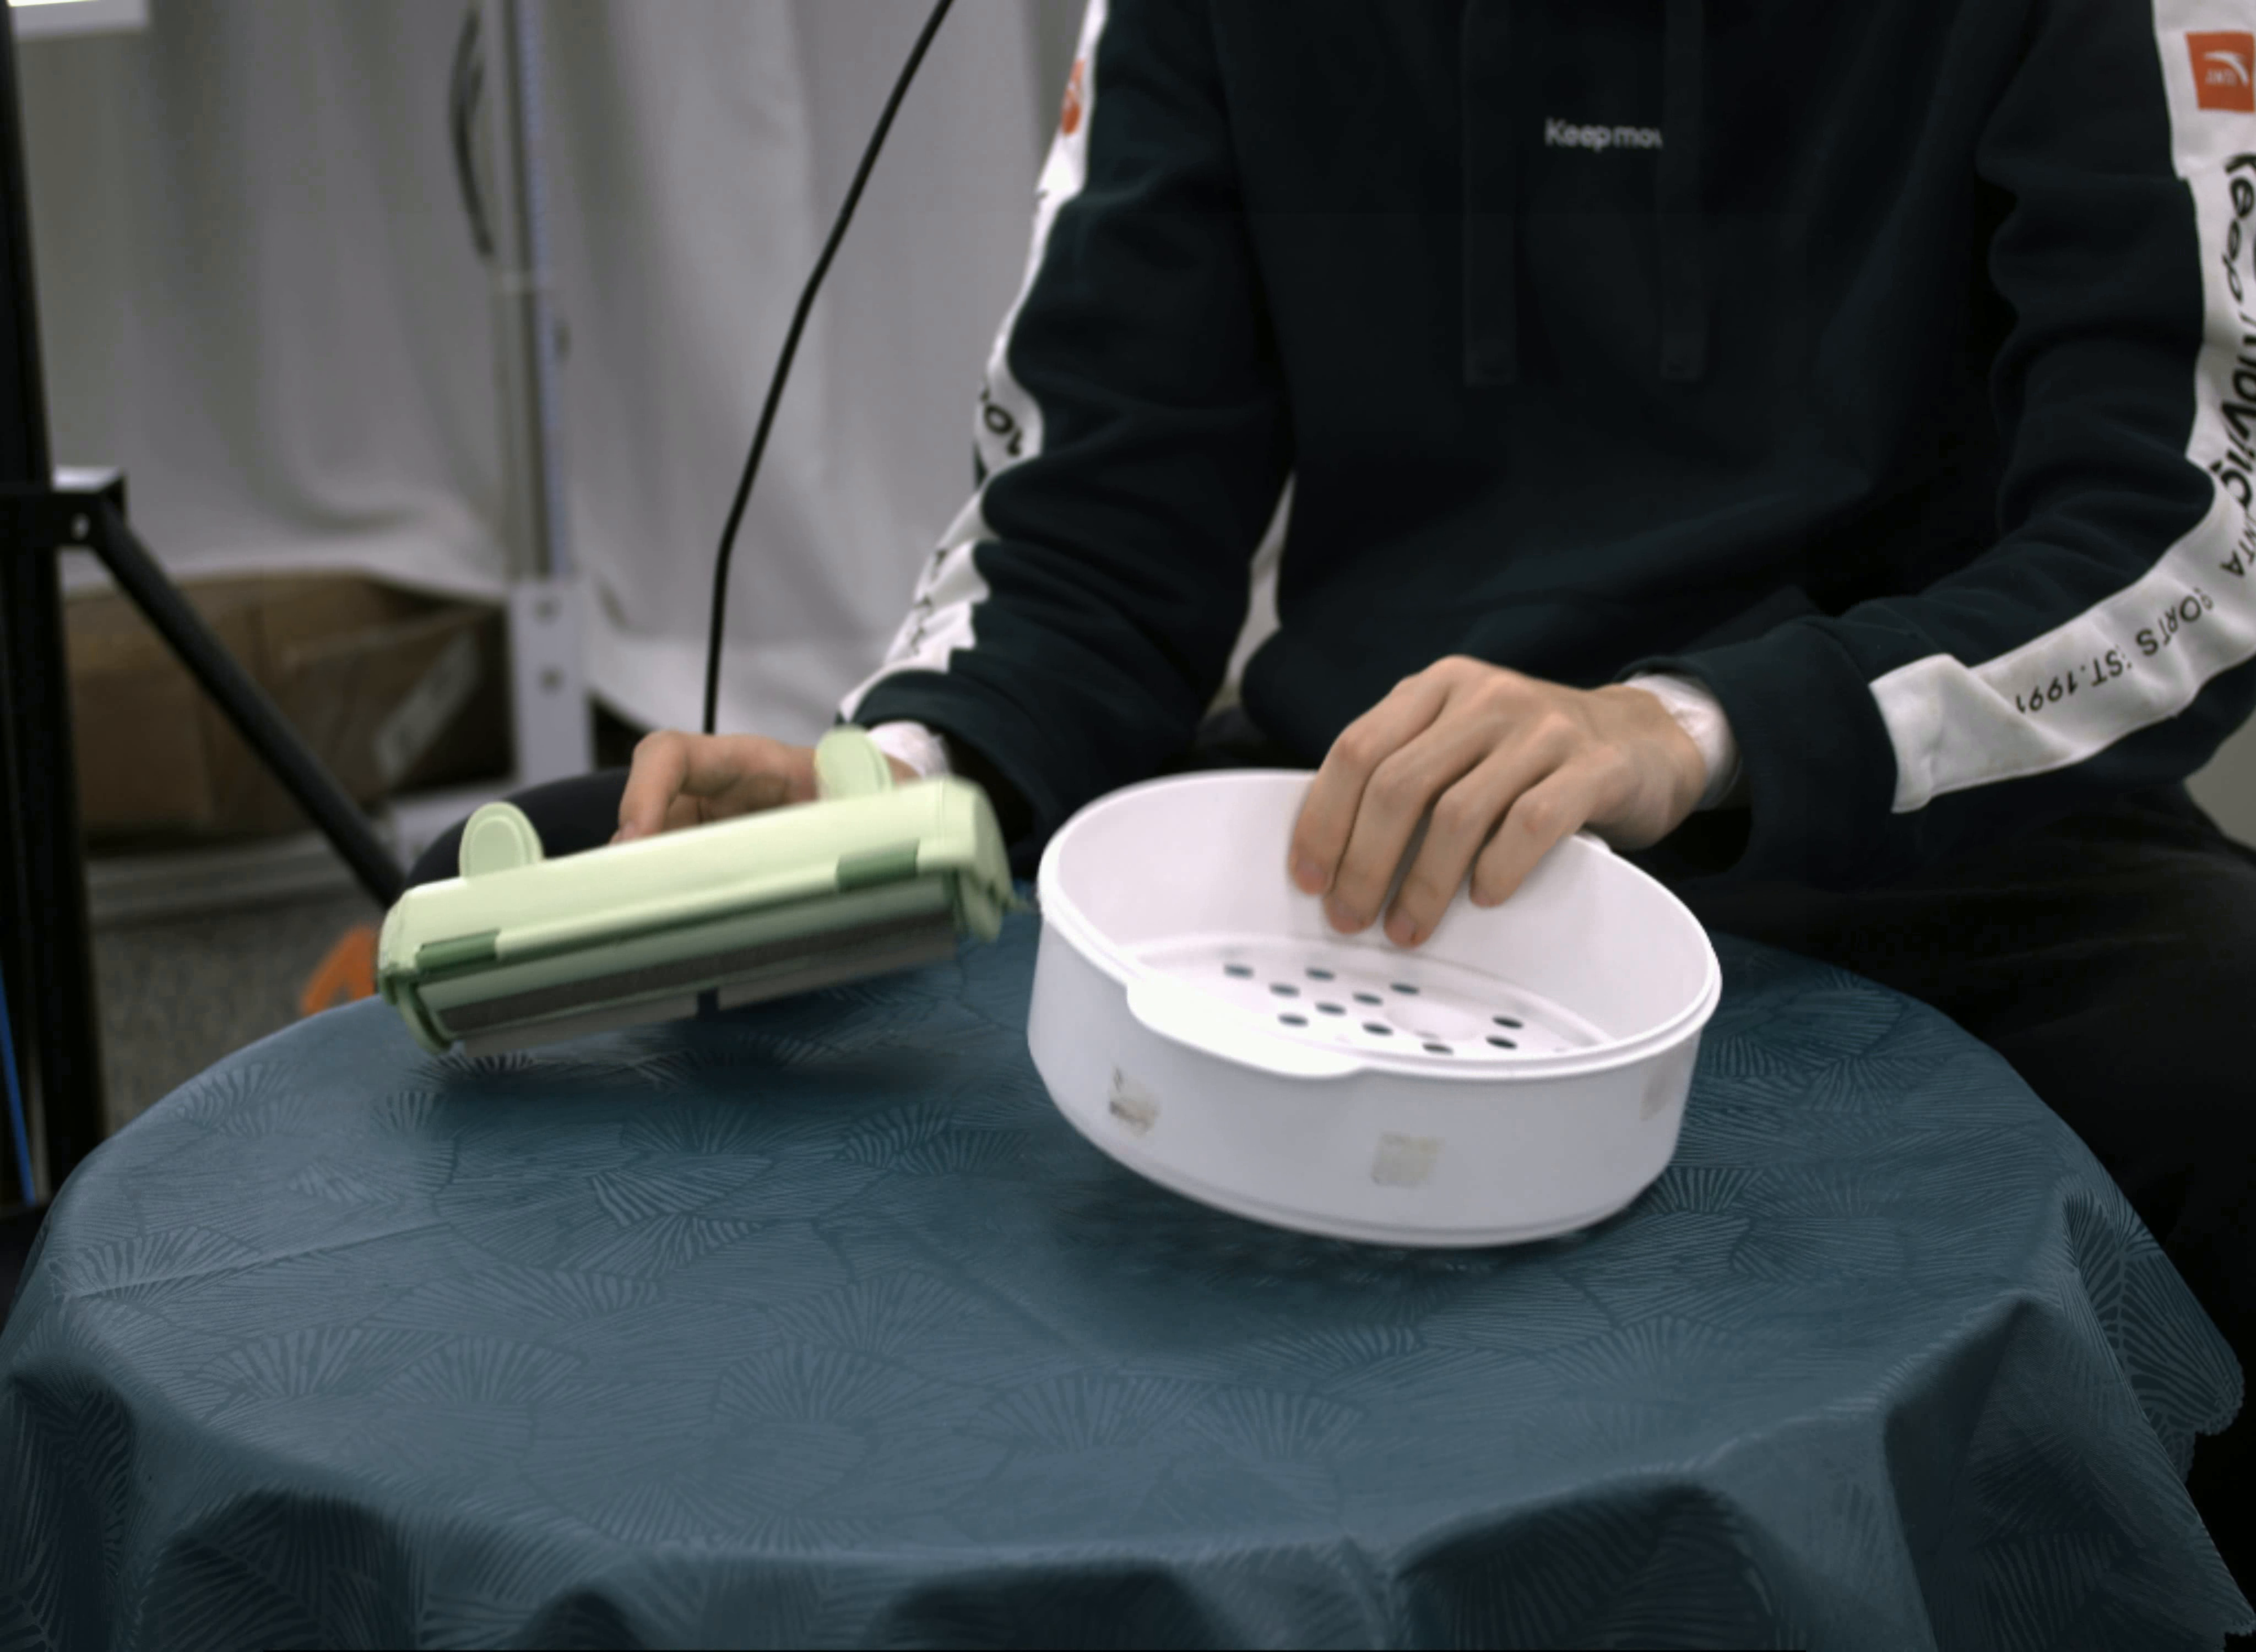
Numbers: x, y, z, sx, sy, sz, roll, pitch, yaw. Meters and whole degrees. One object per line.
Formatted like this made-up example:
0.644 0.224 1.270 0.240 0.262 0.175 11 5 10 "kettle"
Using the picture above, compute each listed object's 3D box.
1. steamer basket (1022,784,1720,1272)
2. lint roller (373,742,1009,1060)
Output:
0.068 0.059 1.539 0.204 0.069 0.227 15 26 21 "steamer basket"
-0.133 0.012 1.730 0.199 0.082 0.183 -10 13 11 "lint roller"
